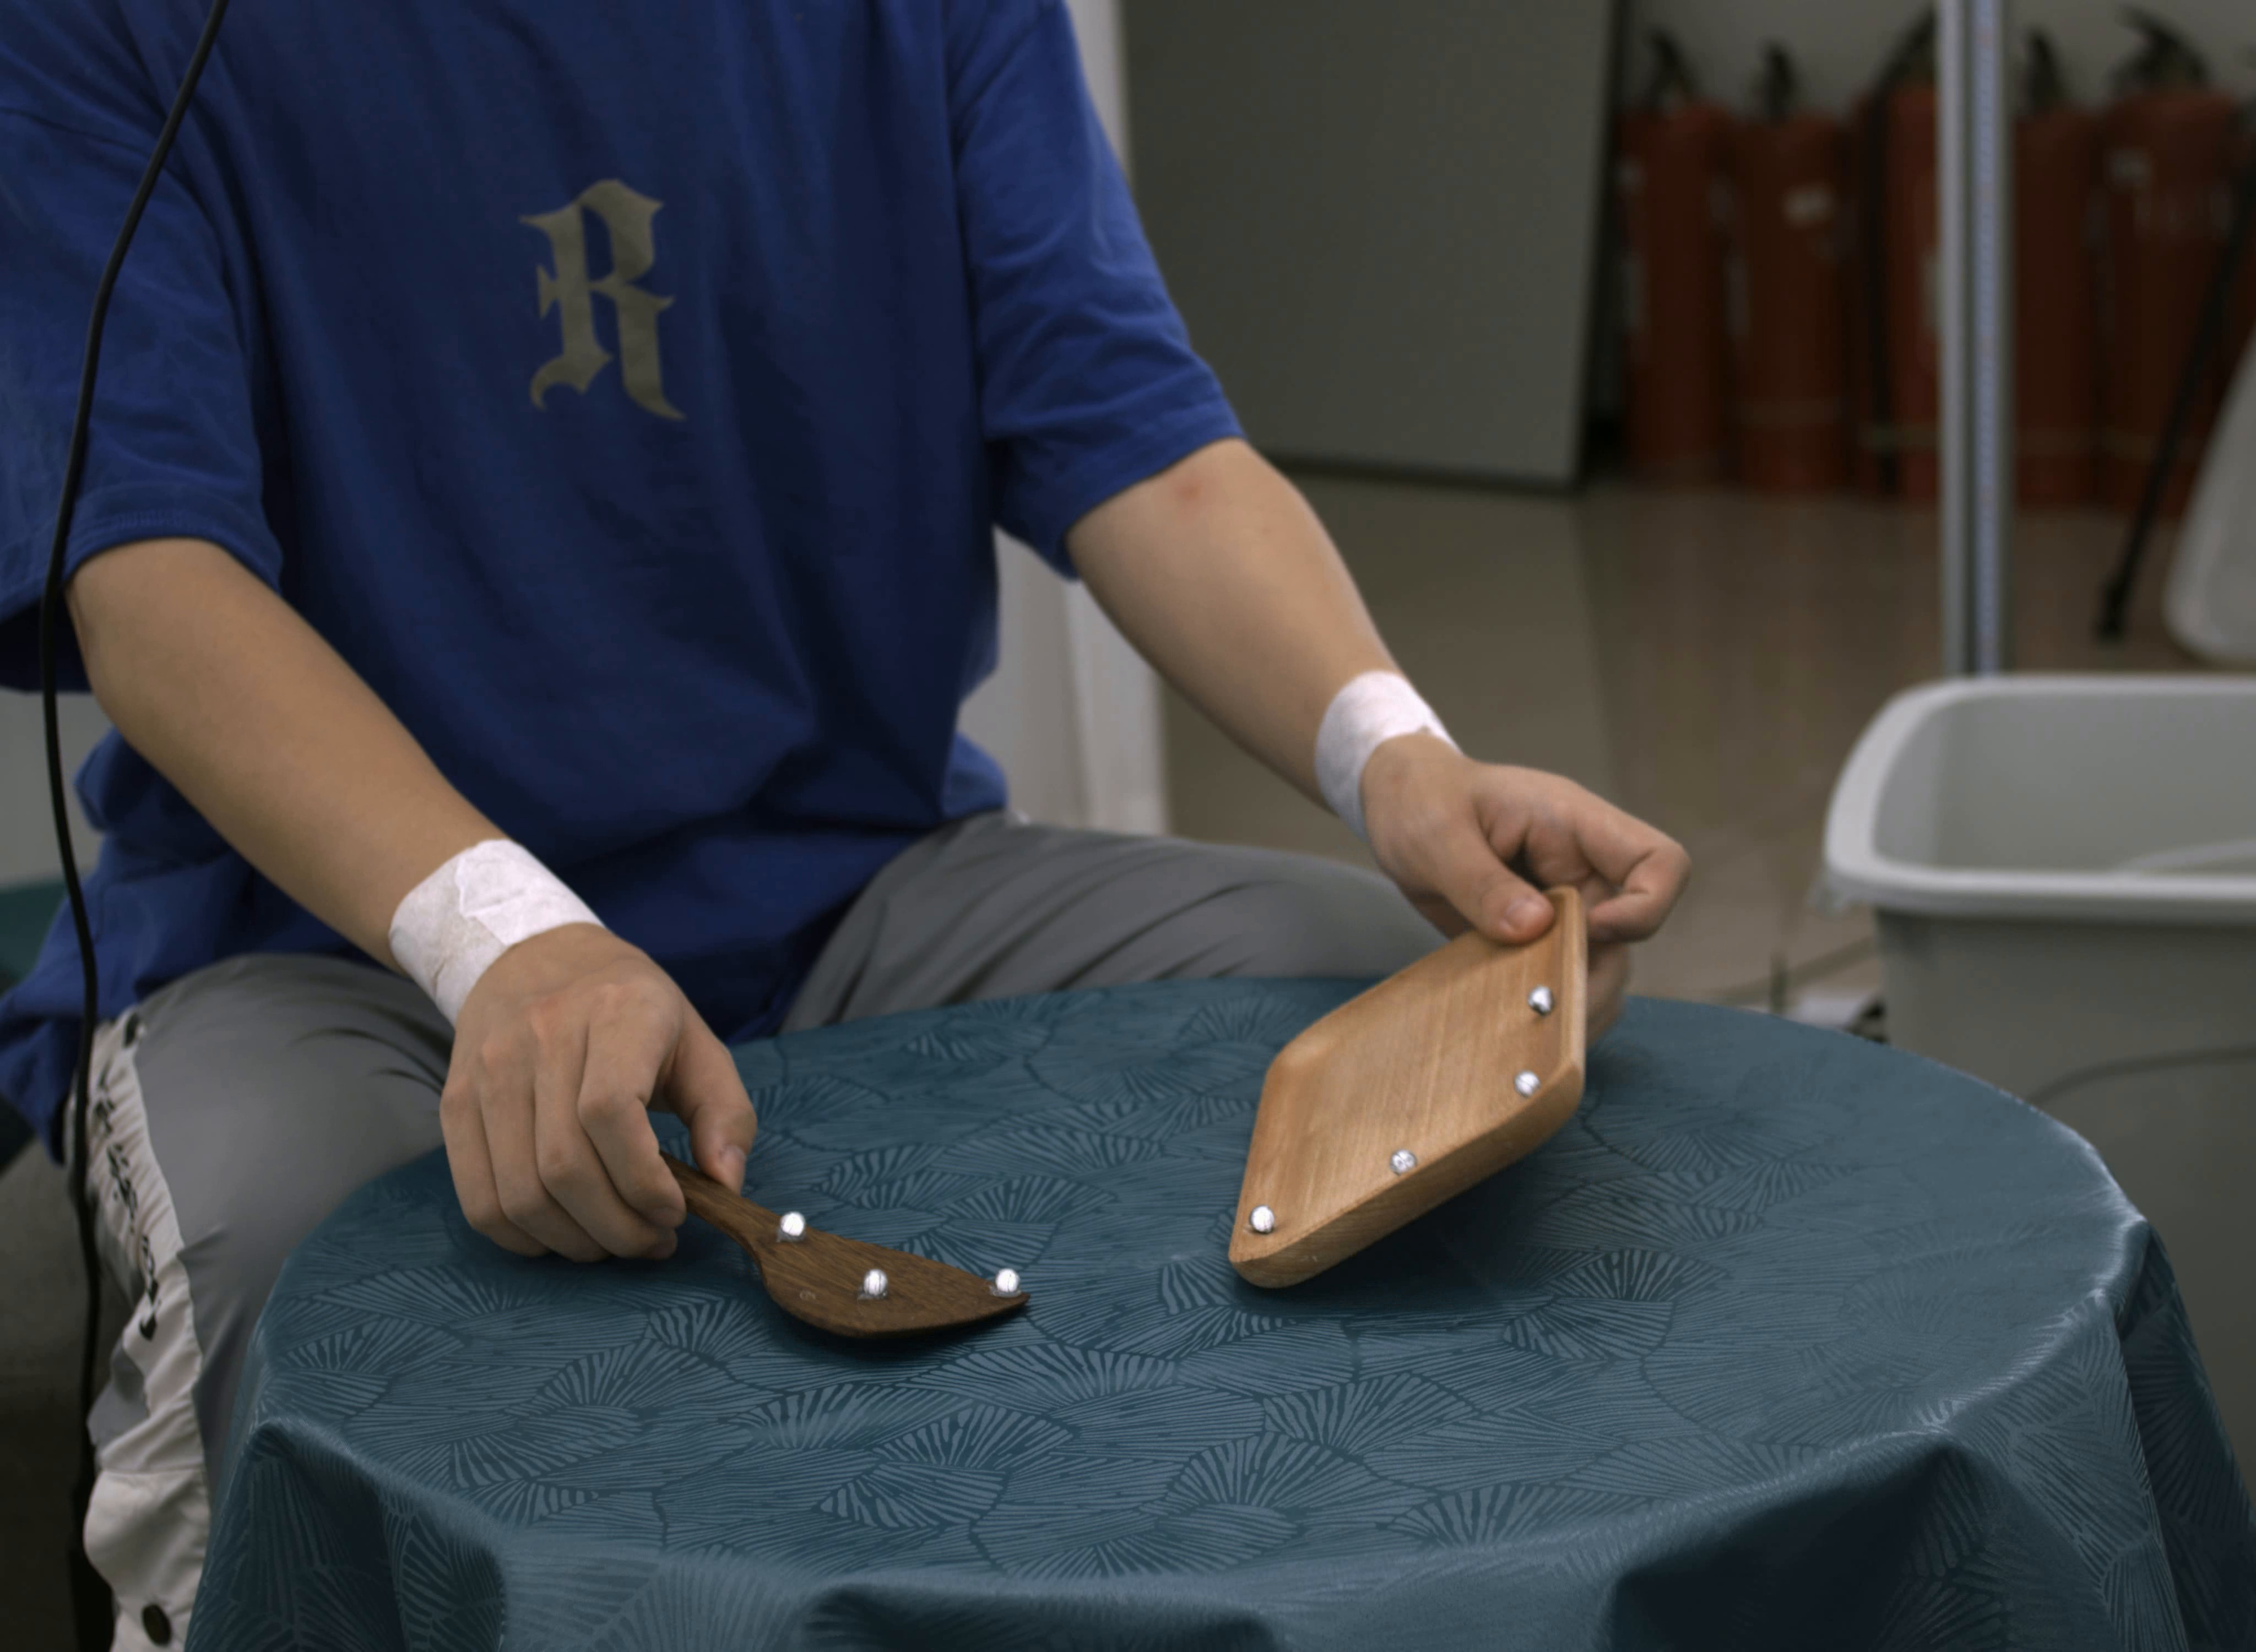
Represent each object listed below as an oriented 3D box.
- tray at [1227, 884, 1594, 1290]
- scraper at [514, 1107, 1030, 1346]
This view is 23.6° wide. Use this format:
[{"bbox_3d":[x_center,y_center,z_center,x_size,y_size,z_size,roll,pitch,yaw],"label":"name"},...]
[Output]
[{"bbox_3d":[0.096,0.083,1.753,0.130,0.023,0.250,-28,10,12],"label":"tray"},{"bbox_3d":[-0.122,0.125,1.708,0.074,0.011,0.213,-8,22,-43],"label":"scraper"}]
